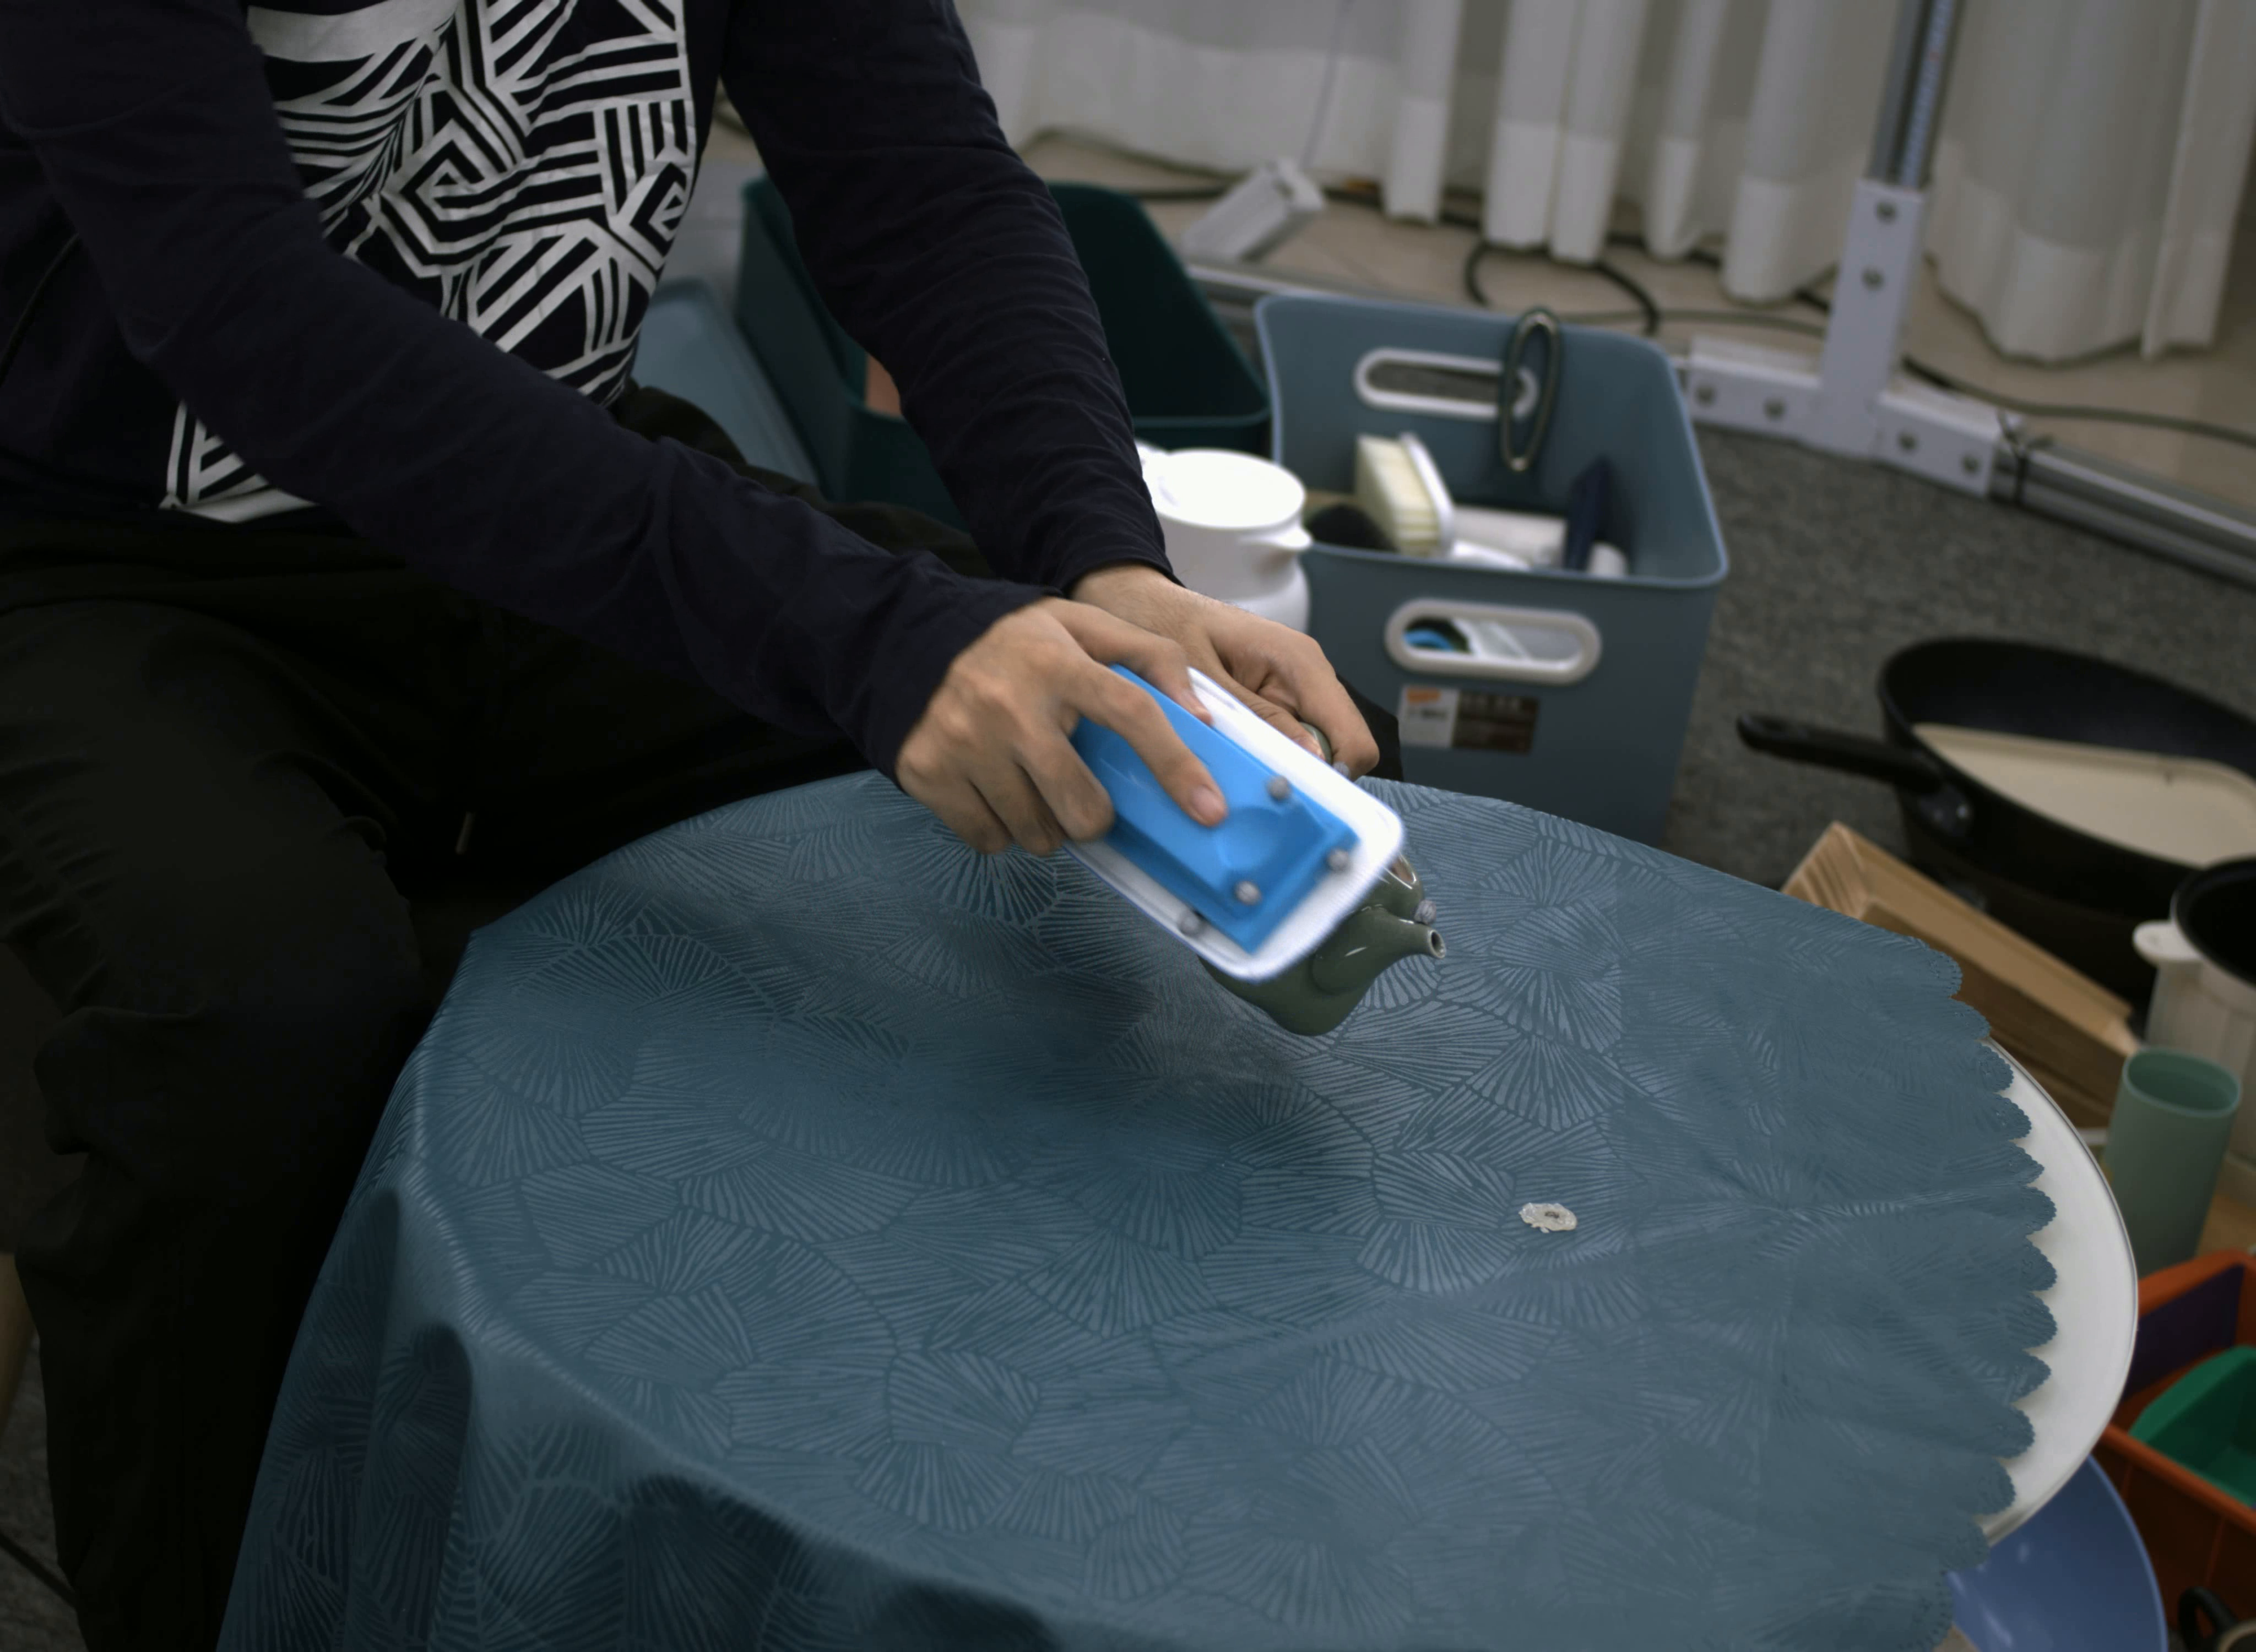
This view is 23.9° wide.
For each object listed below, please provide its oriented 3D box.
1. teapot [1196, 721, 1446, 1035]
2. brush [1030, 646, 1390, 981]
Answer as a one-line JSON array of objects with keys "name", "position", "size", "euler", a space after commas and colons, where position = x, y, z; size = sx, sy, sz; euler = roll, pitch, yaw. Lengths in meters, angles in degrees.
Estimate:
[{"name": "teapot", "position": [0.061, 0.023, 1.872], "size": [0.079, 0.075, 0.134], "euler": [37, 17, -43]}, {"name": "brush", "position": [0.023, -0.011, 1.839], "size": [0.084, 0.055, 0.145], "euler": [-44, 47, -4]}]
